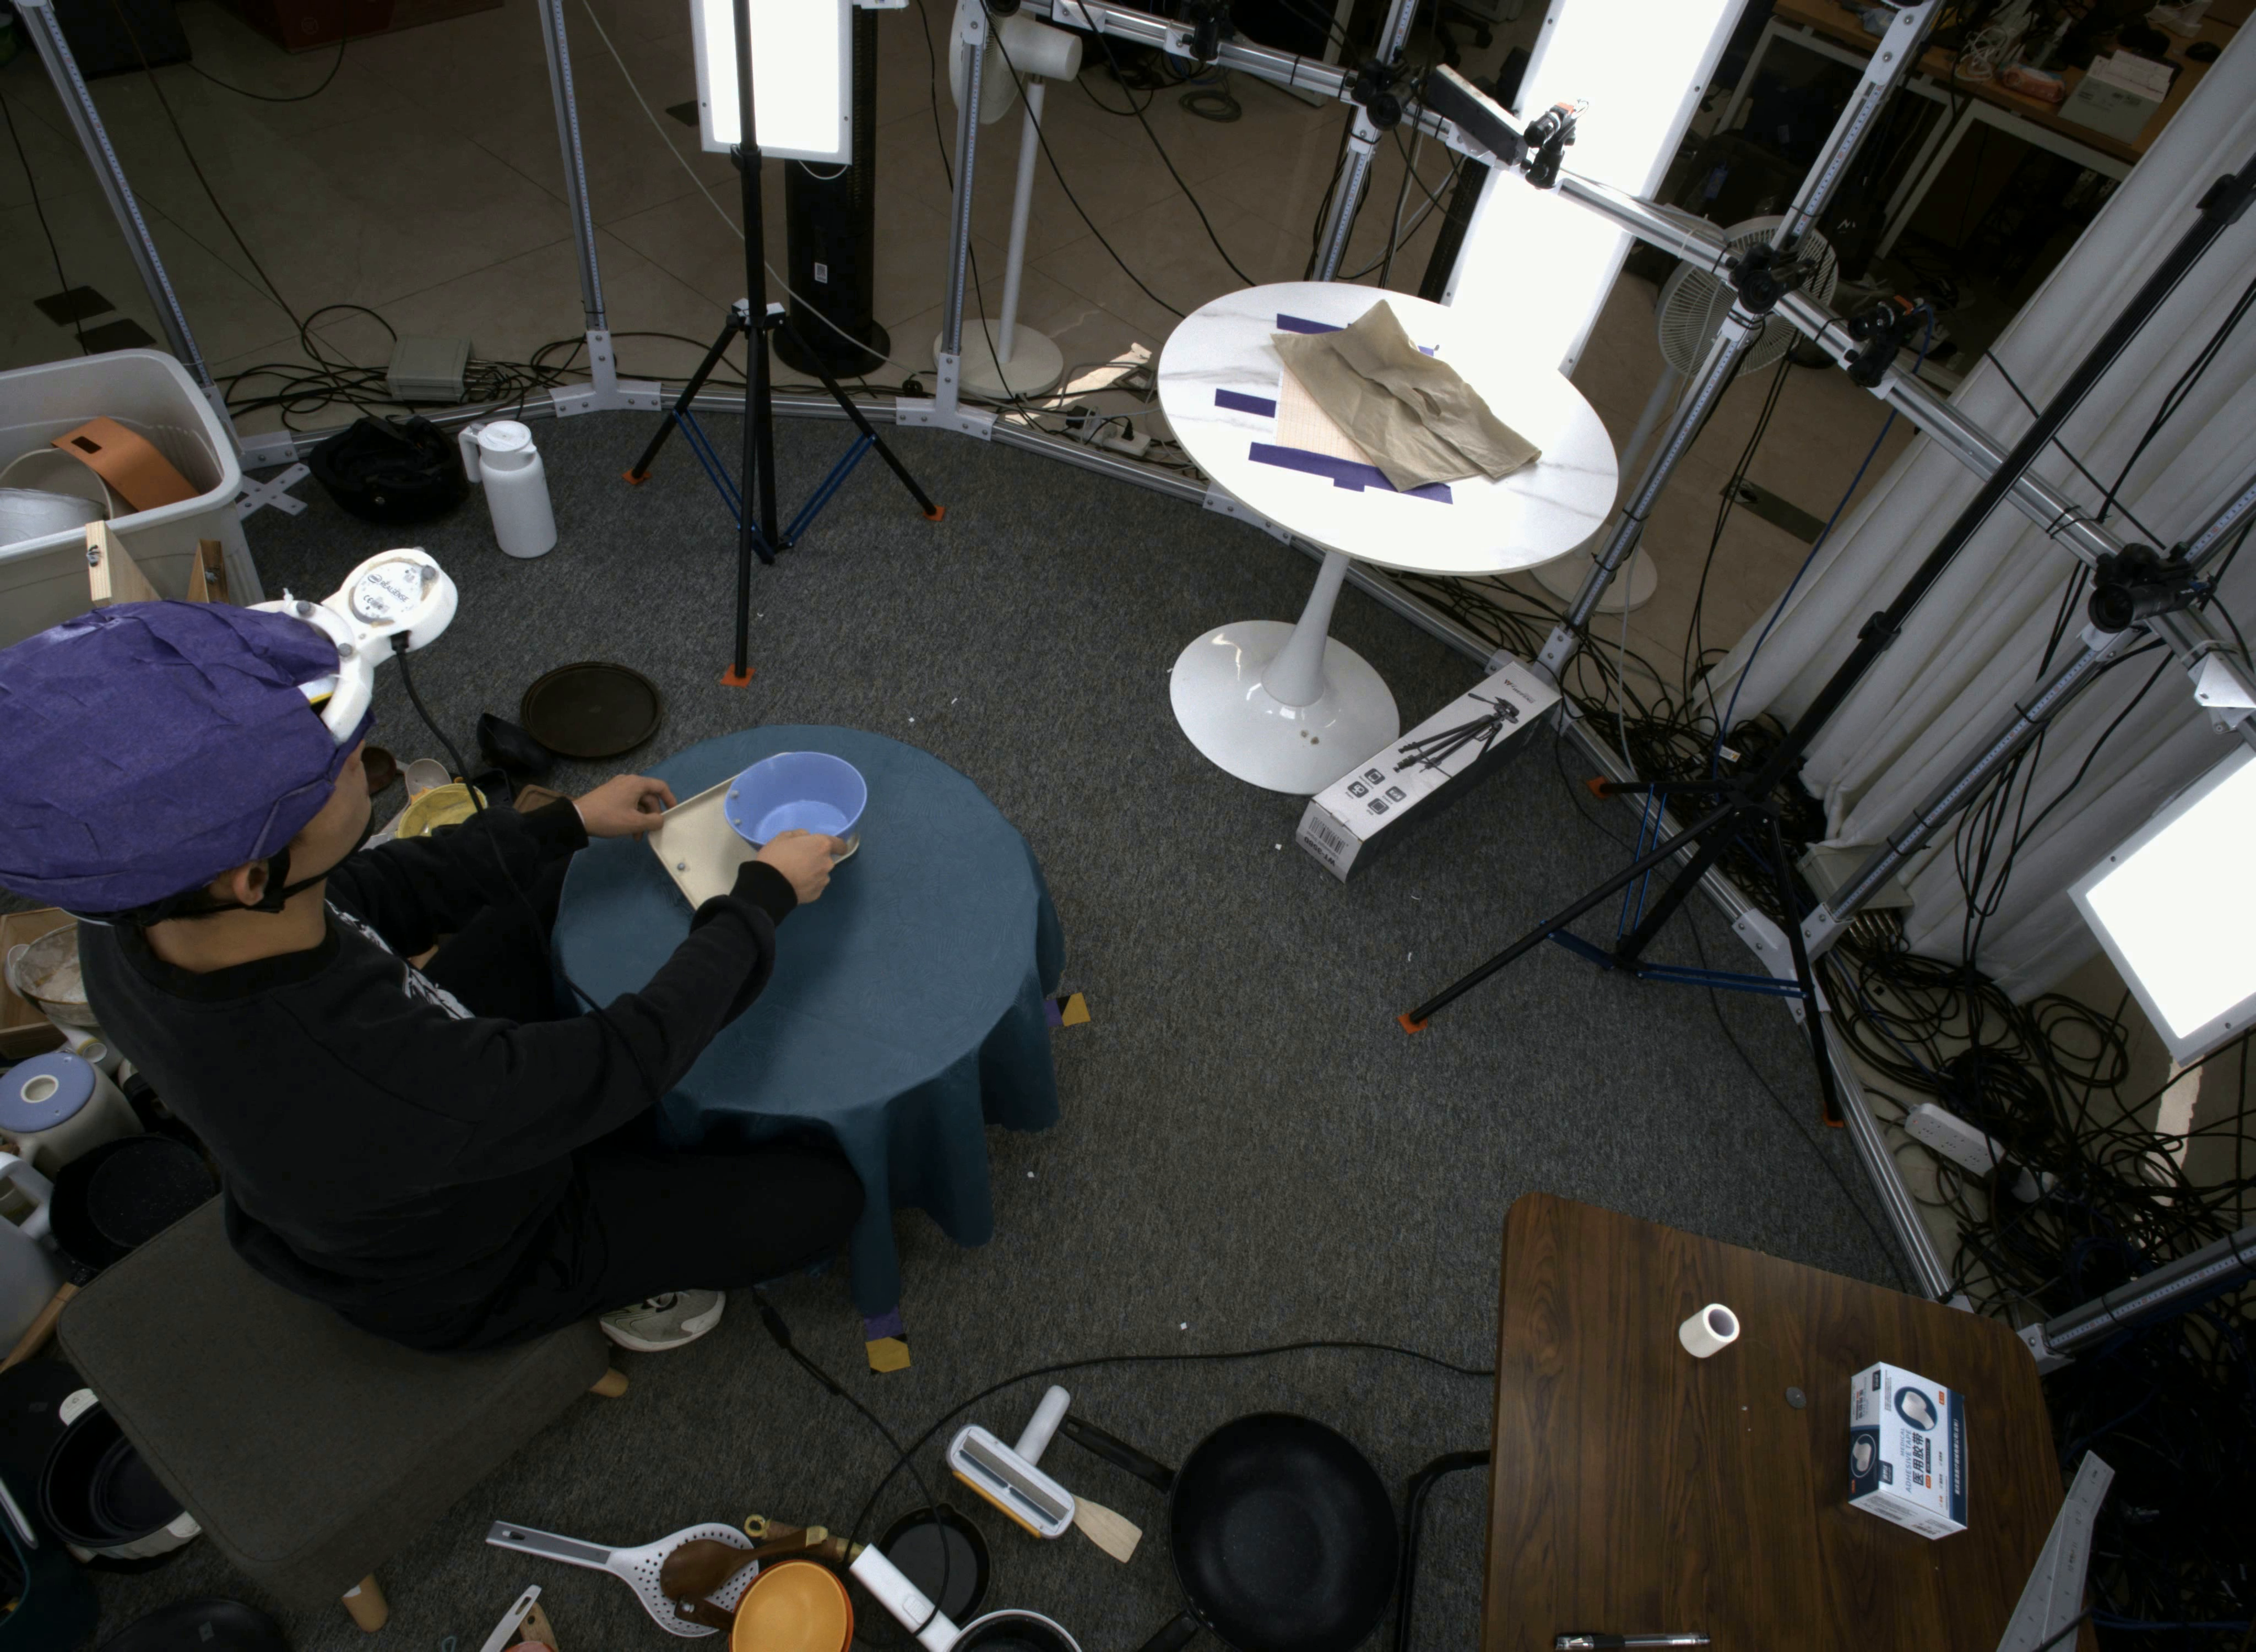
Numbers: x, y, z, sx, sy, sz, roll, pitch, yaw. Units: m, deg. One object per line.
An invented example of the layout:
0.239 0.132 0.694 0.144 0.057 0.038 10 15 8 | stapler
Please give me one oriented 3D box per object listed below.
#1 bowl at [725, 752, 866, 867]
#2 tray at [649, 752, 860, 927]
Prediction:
-0.411 -0.013 1.629 0.174 0.072 0.172 1 43 1 | bowl
-0.480 0.014 1.667 0.240 0.017 0.170 -34 83 -33 | tray
